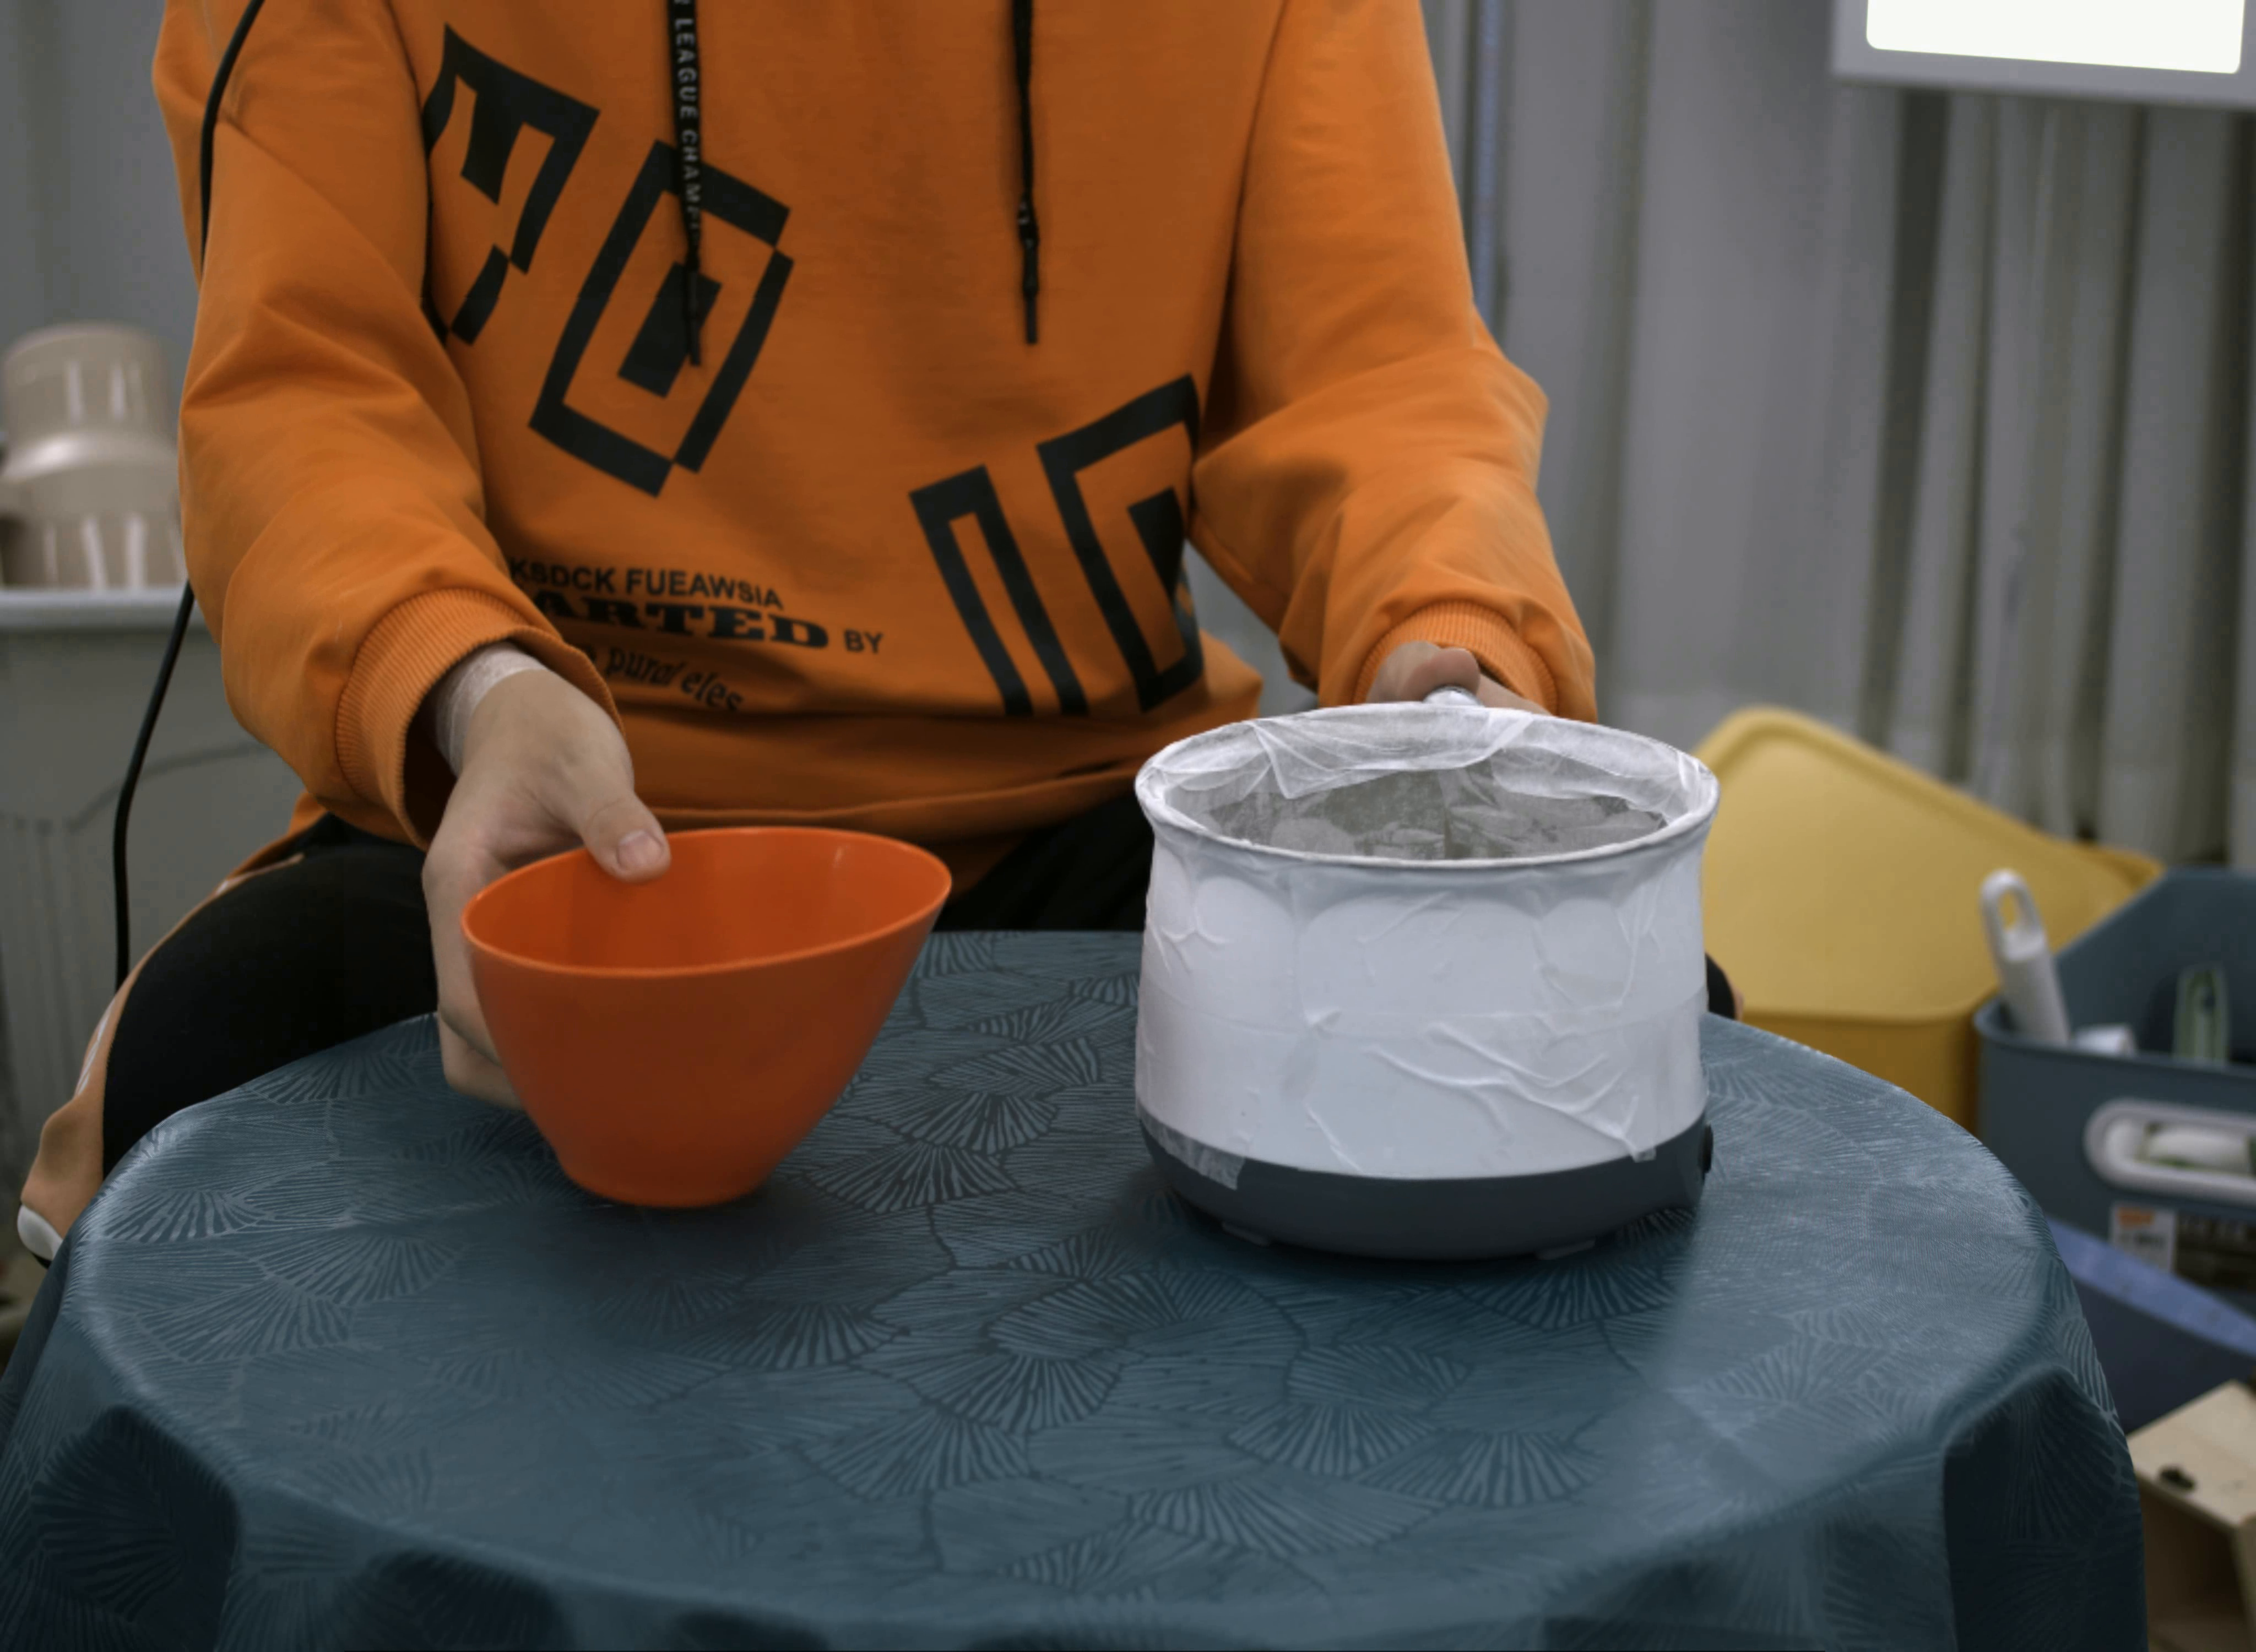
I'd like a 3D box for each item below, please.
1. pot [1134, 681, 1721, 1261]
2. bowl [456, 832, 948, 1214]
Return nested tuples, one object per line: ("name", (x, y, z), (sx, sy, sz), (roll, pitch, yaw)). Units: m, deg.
("pot", (0.093, 0.039, 1.629), (0.178, 0.138, 0.233), (2, 17, 5))
("bowl", (-0.130, 0.060, 1.591), (0.147, 0.105, 0.147), (3, 21, 0))
